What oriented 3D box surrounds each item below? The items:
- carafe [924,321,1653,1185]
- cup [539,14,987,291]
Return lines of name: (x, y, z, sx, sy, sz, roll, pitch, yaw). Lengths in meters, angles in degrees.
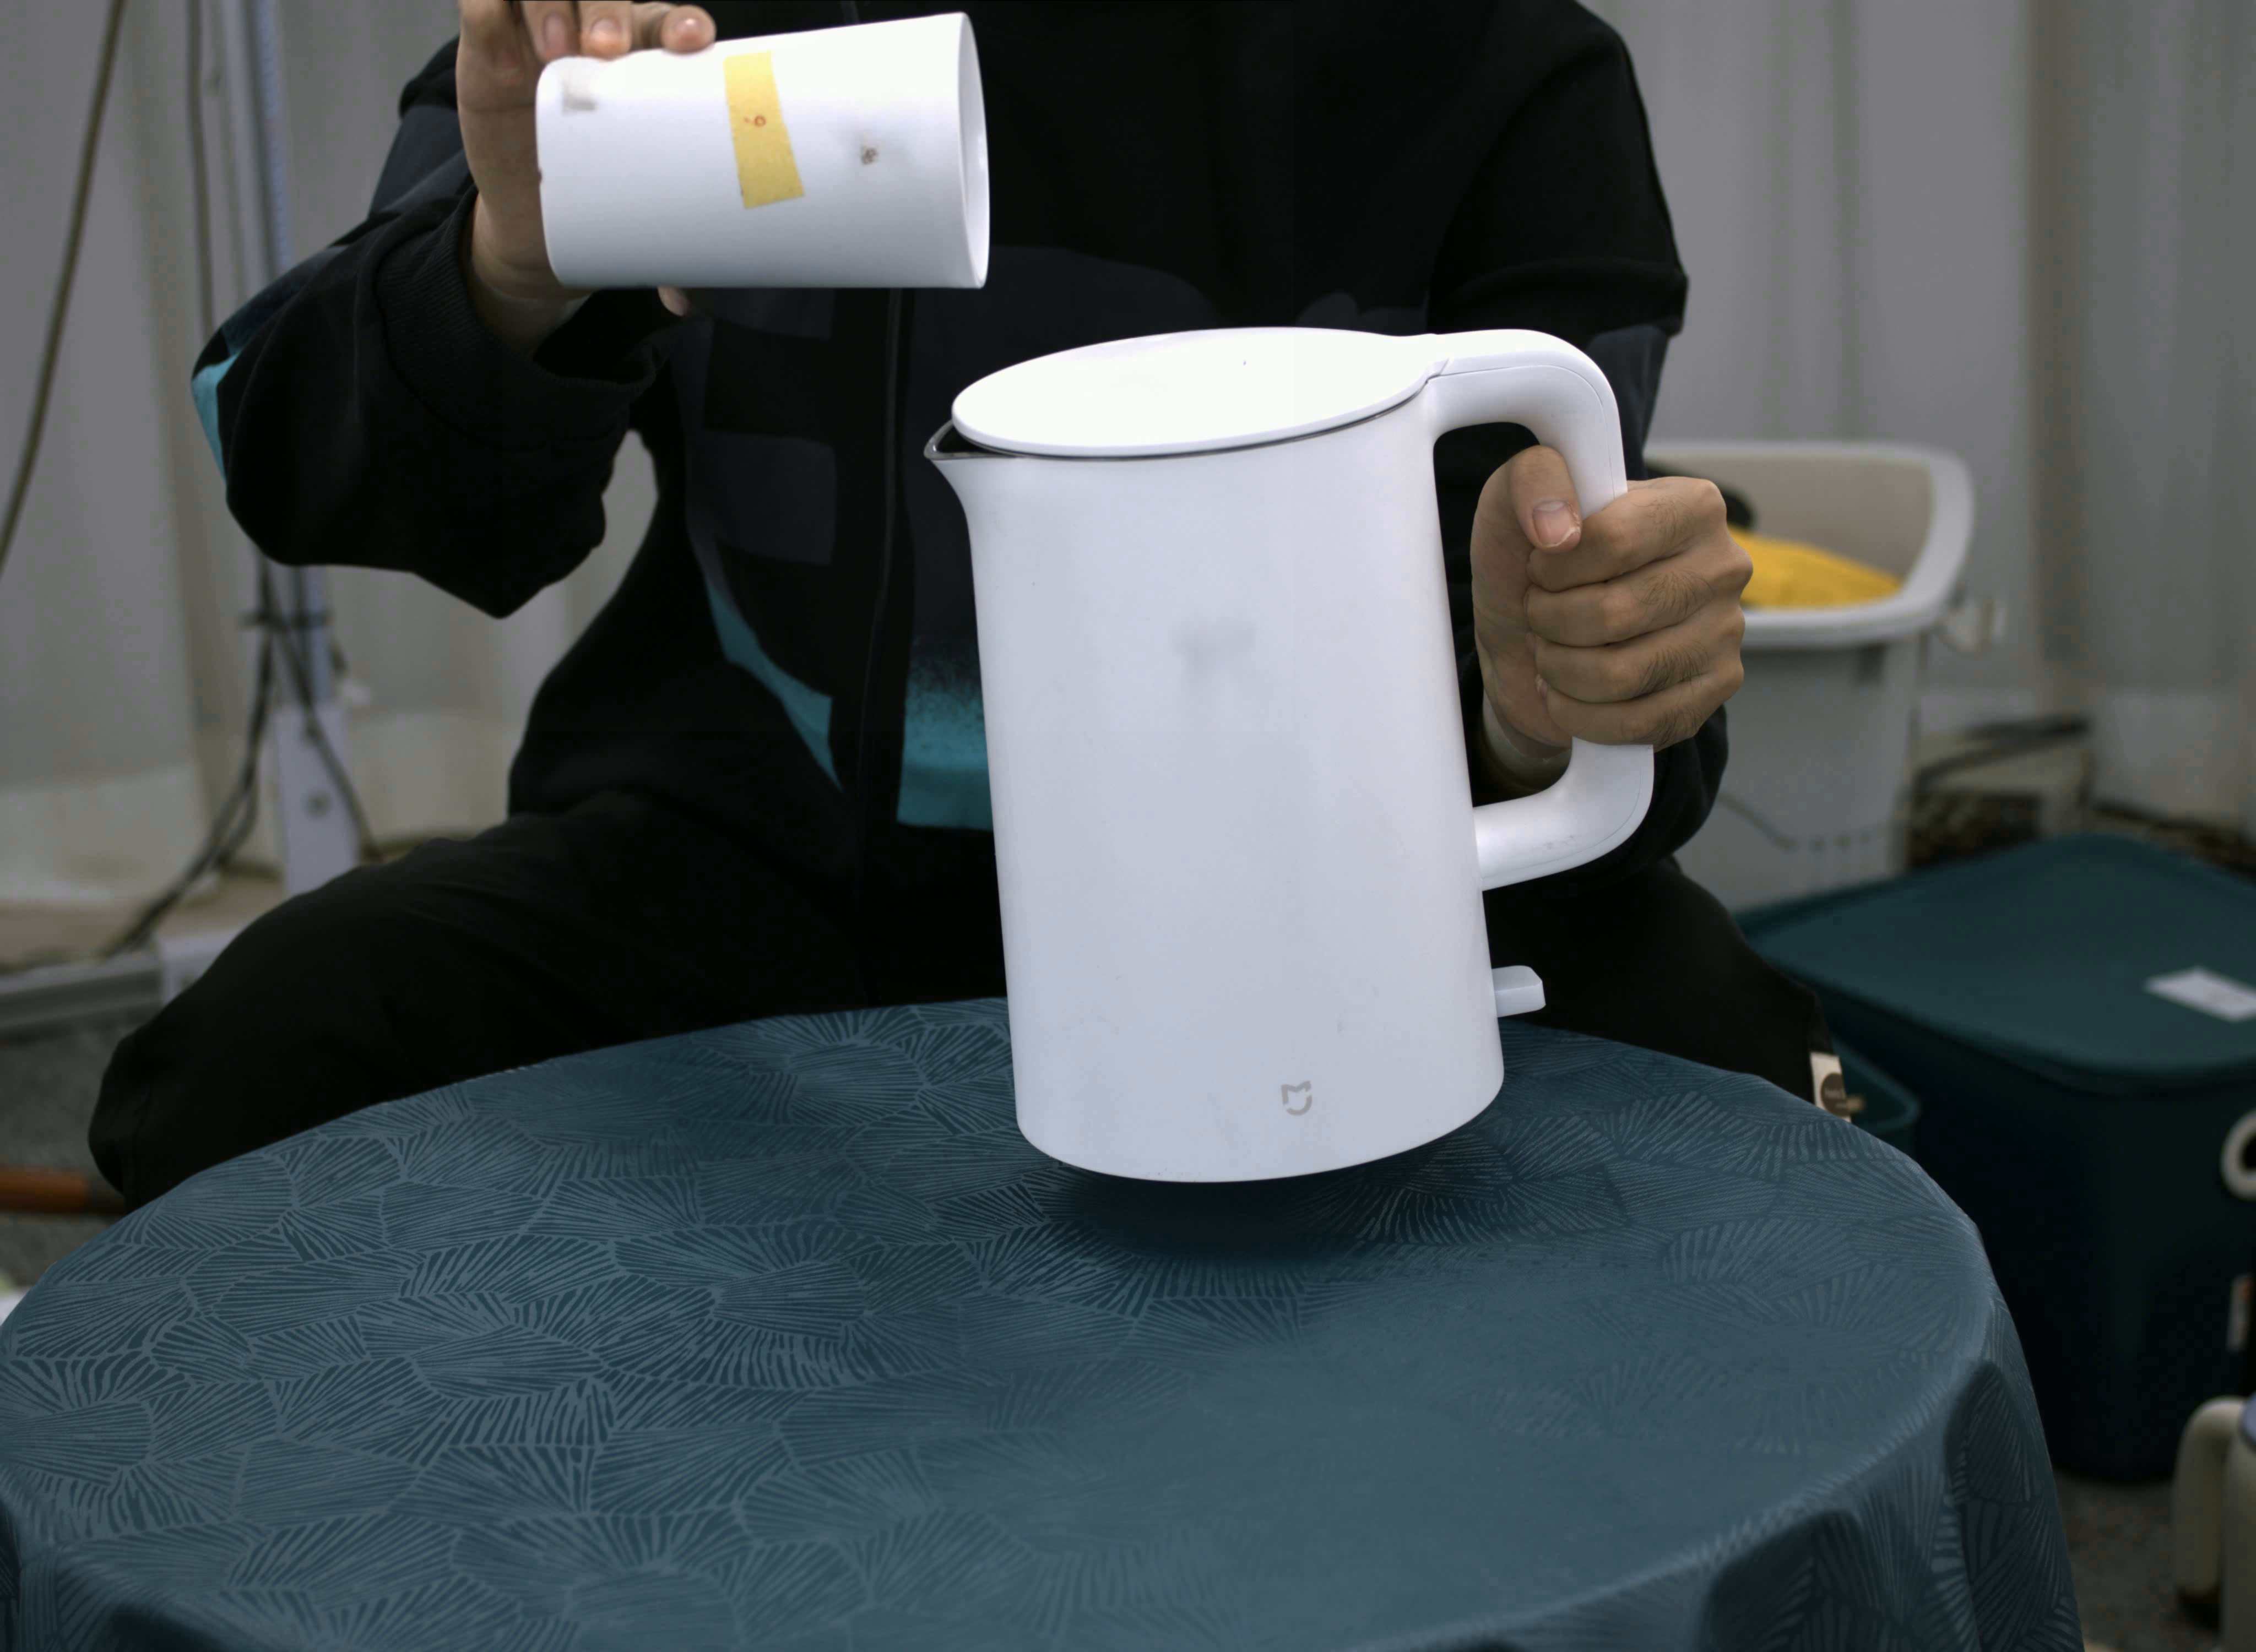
carafe: (0.055, -0.029, 1.672, 0.212, 0.239, 0.153, -9, 17, -9)
cup: (-0.107, -0.197, 1.623, 0.125, 0.081, 0.082, -2, 14, 4)
